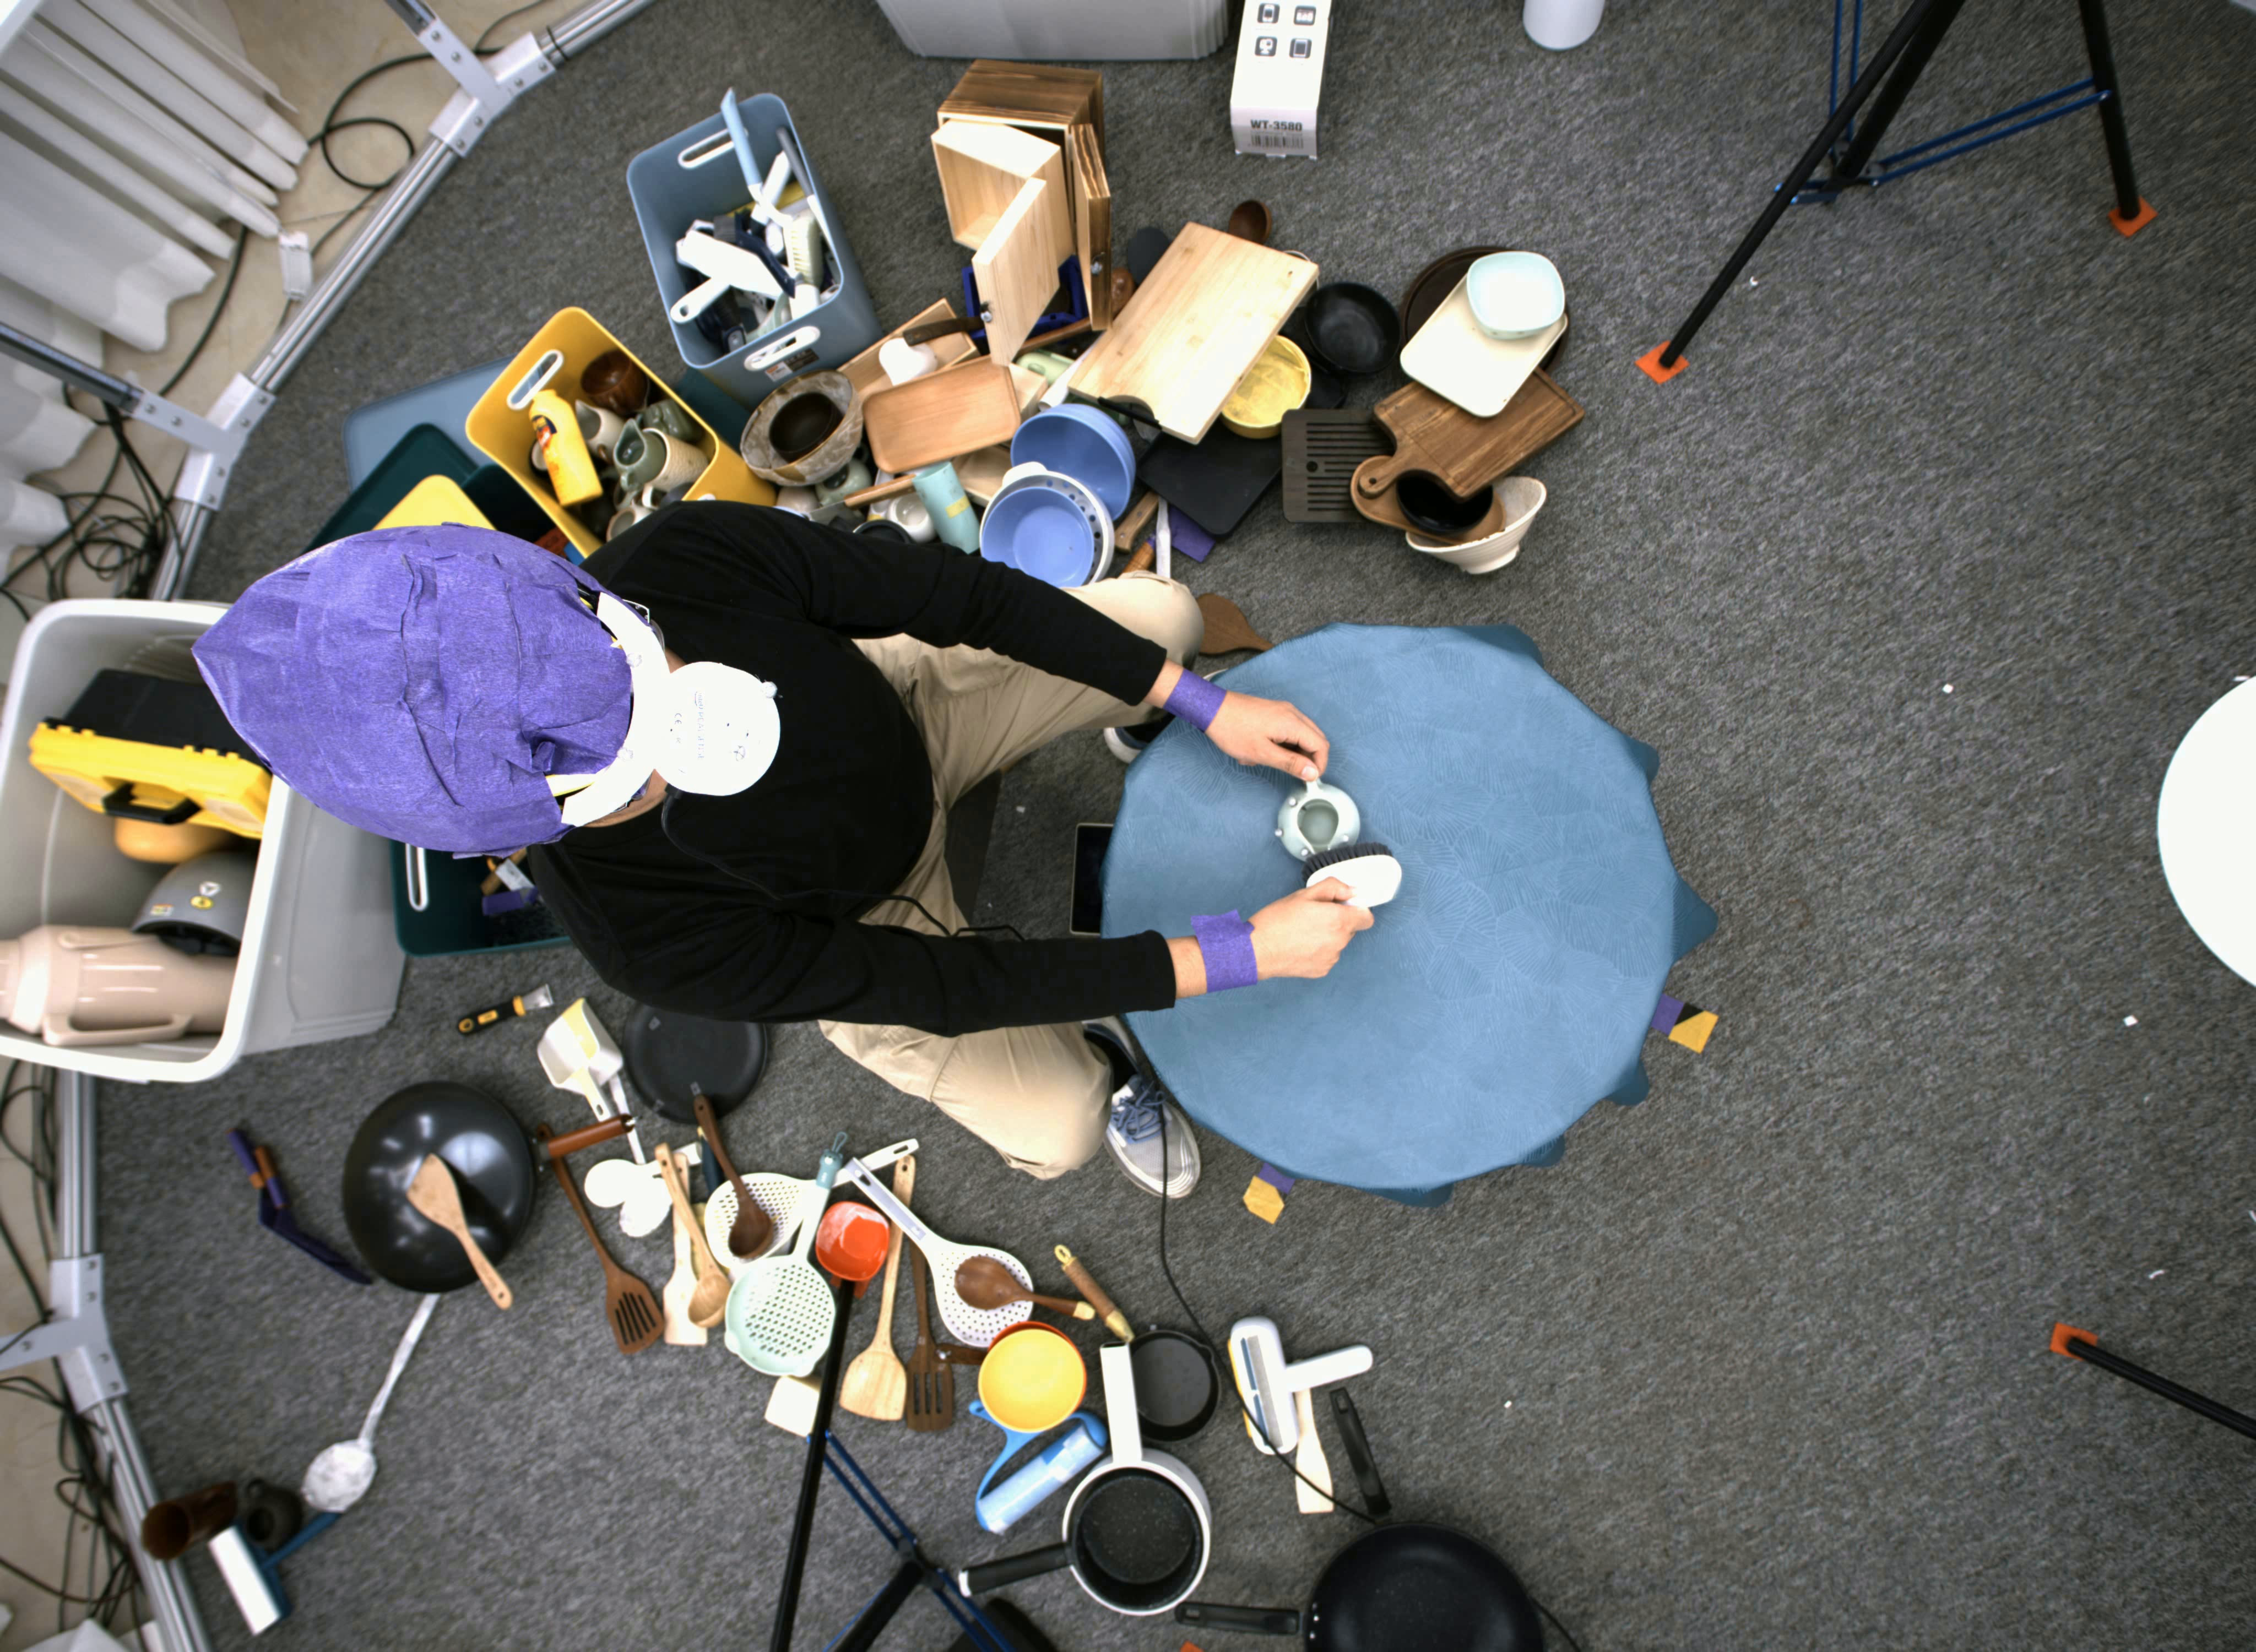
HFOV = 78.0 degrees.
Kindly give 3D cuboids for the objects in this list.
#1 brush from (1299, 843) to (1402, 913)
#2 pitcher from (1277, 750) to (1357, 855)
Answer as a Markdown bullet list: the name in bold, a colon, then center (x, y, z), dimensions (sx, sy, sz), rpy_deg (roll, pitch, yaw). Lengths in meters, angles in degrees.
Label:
- **brush**: center (0.229, 0.059, 1.394), dimensions (0.099, 0.071, 0.051), rpy_deg (-11, 120, -2)
- **pitcher**: center (0.196, -0.027, 1.446), dimensions (0.086, 0.059, 0.109), rpy_deg (7, 104, 21)
